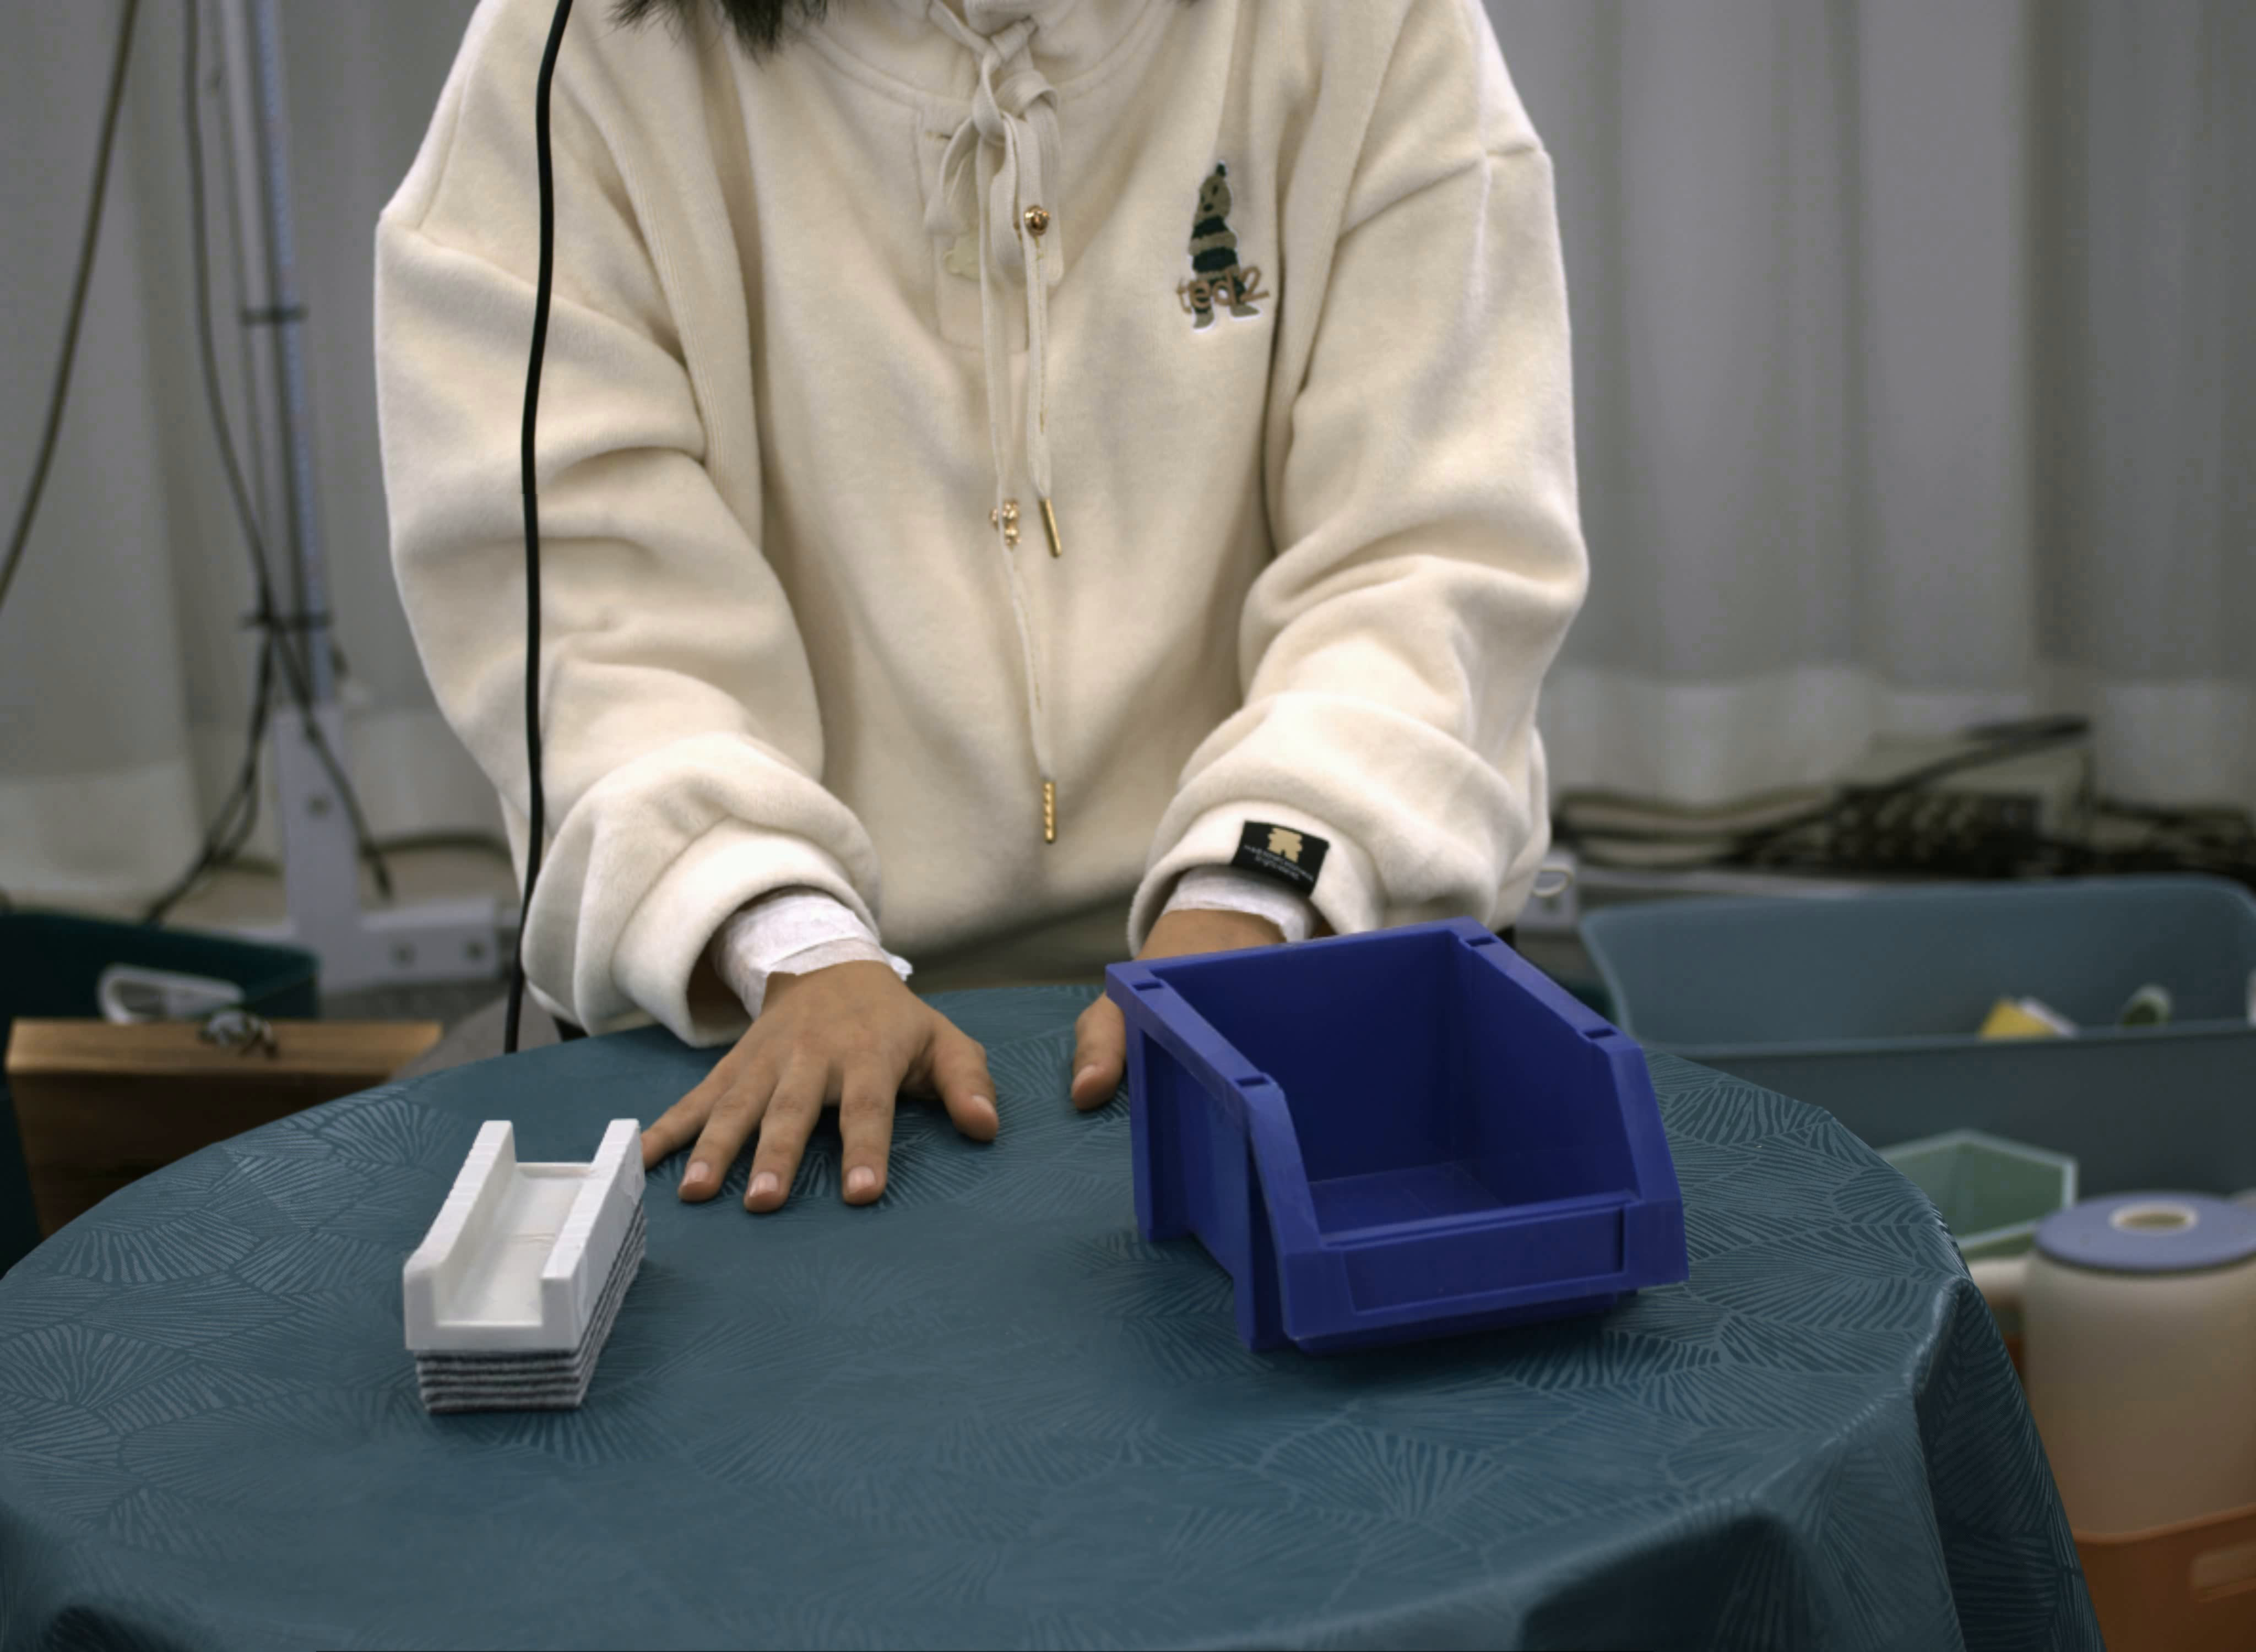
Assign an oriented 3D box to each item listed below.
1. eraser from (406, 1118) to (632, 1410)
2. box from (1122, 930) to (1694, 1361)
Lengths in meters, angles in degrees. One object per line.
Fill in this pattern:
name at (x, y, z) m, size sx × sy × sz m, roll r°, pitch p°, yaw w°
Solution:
eraser at (-0.177, 0.127, 1.609) m, size 0.049 × 0.046 × 0.135 m, roll -4°, pitch 16°, yaw 2°
box at (0.081, 0.096, 1.610) m, size 0.124 × 0.081 × 0.180 m, roll -6°, pitch 13°, yaw -13°
